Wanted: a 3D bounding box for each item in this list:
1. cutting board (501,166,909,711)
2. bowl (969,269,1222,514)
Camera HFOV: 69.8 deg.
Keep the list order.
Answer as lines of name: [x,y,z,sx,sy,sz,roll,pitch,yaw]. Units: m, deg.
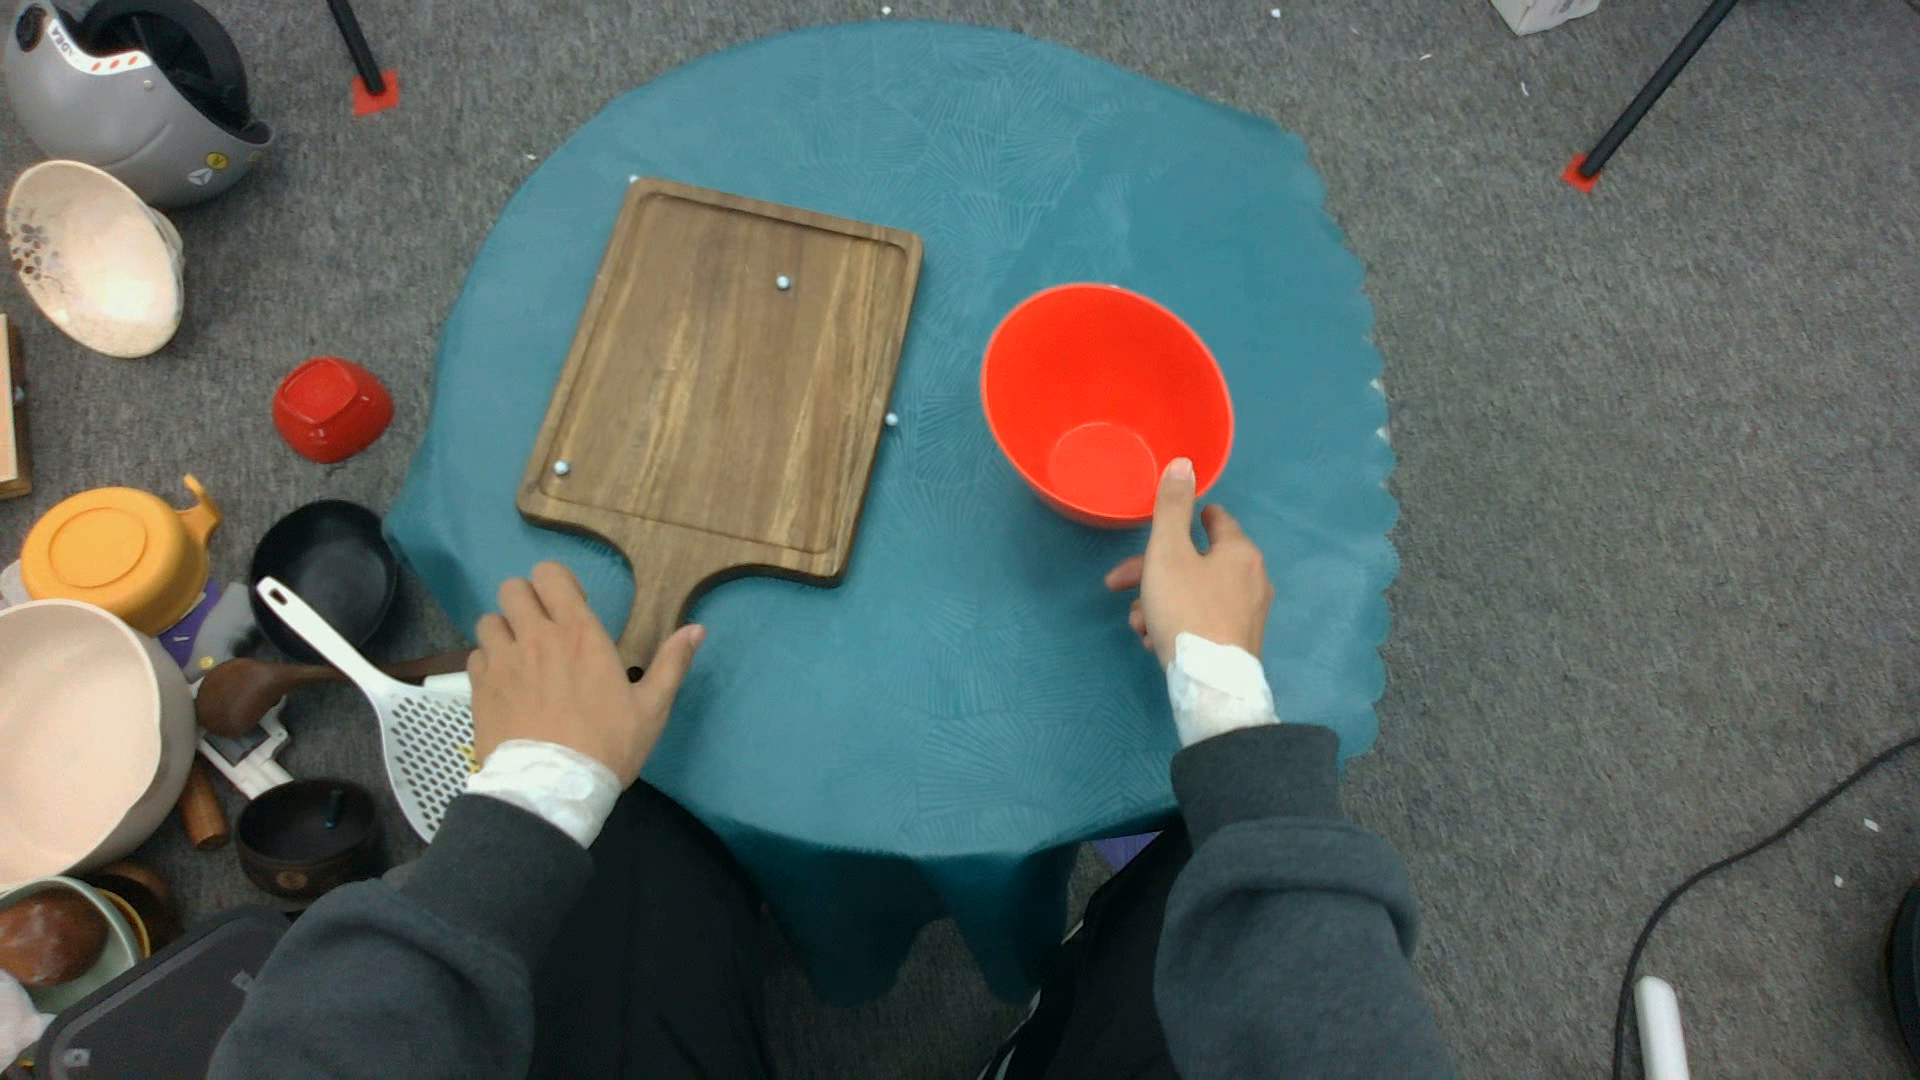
cutting board: [-0.158,-0.067,0.829,0.201,0.023,0.353,12,66,0]
bowl: [0.074,-0.073,0.810,0.148,0.104,0.148,2,66,-4]
